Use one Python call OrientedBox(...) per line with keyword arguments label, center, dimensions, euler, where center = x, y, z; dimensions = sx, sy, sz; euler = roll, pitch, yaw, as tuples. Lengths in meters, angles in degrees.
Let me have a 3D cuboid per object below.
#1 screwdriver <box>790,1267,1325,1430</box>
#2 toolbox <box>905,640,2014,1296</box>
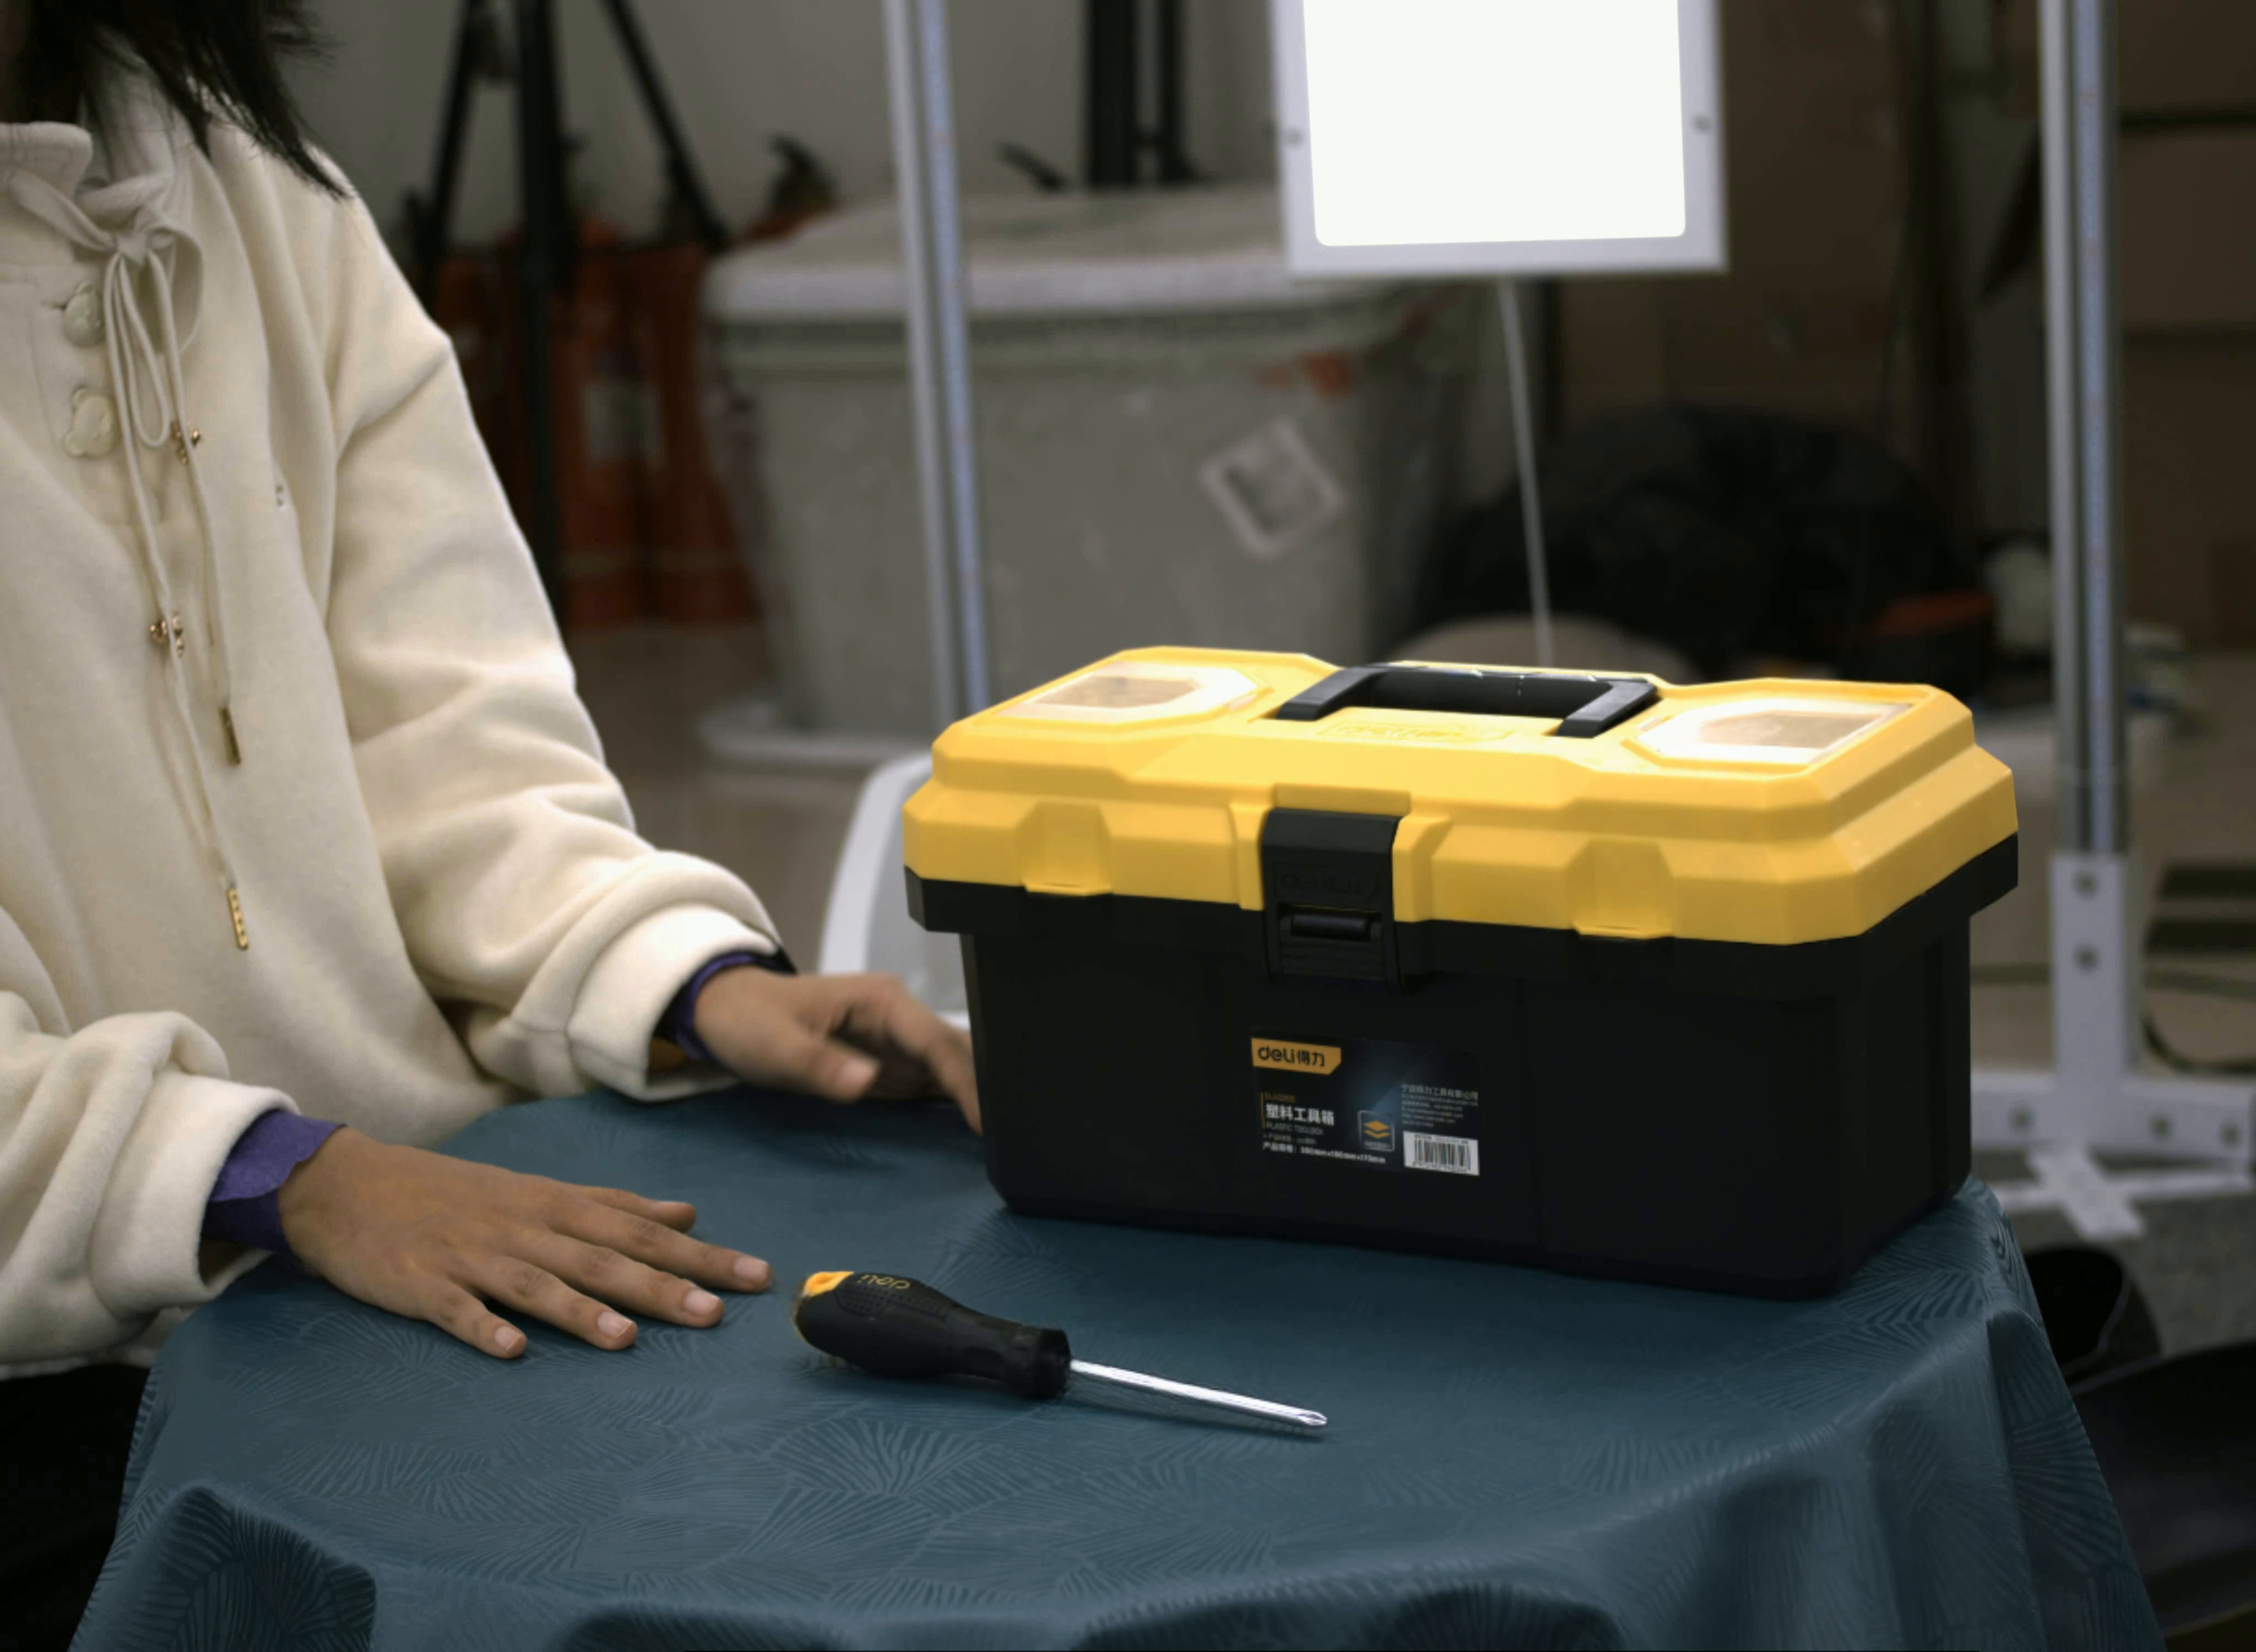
OrientedBox(label="screwdriver", center=(-0.023, 0.162, 1.696), dimensions=(0.200, 0.031, 0.030), euler=(7, 17, 36))
OrientedBox(label="toolbox", center=(0.110, 0.043, 1.834), dimensions=(0.358, 0.173, 0.177), euler=(4, 16, 33))
